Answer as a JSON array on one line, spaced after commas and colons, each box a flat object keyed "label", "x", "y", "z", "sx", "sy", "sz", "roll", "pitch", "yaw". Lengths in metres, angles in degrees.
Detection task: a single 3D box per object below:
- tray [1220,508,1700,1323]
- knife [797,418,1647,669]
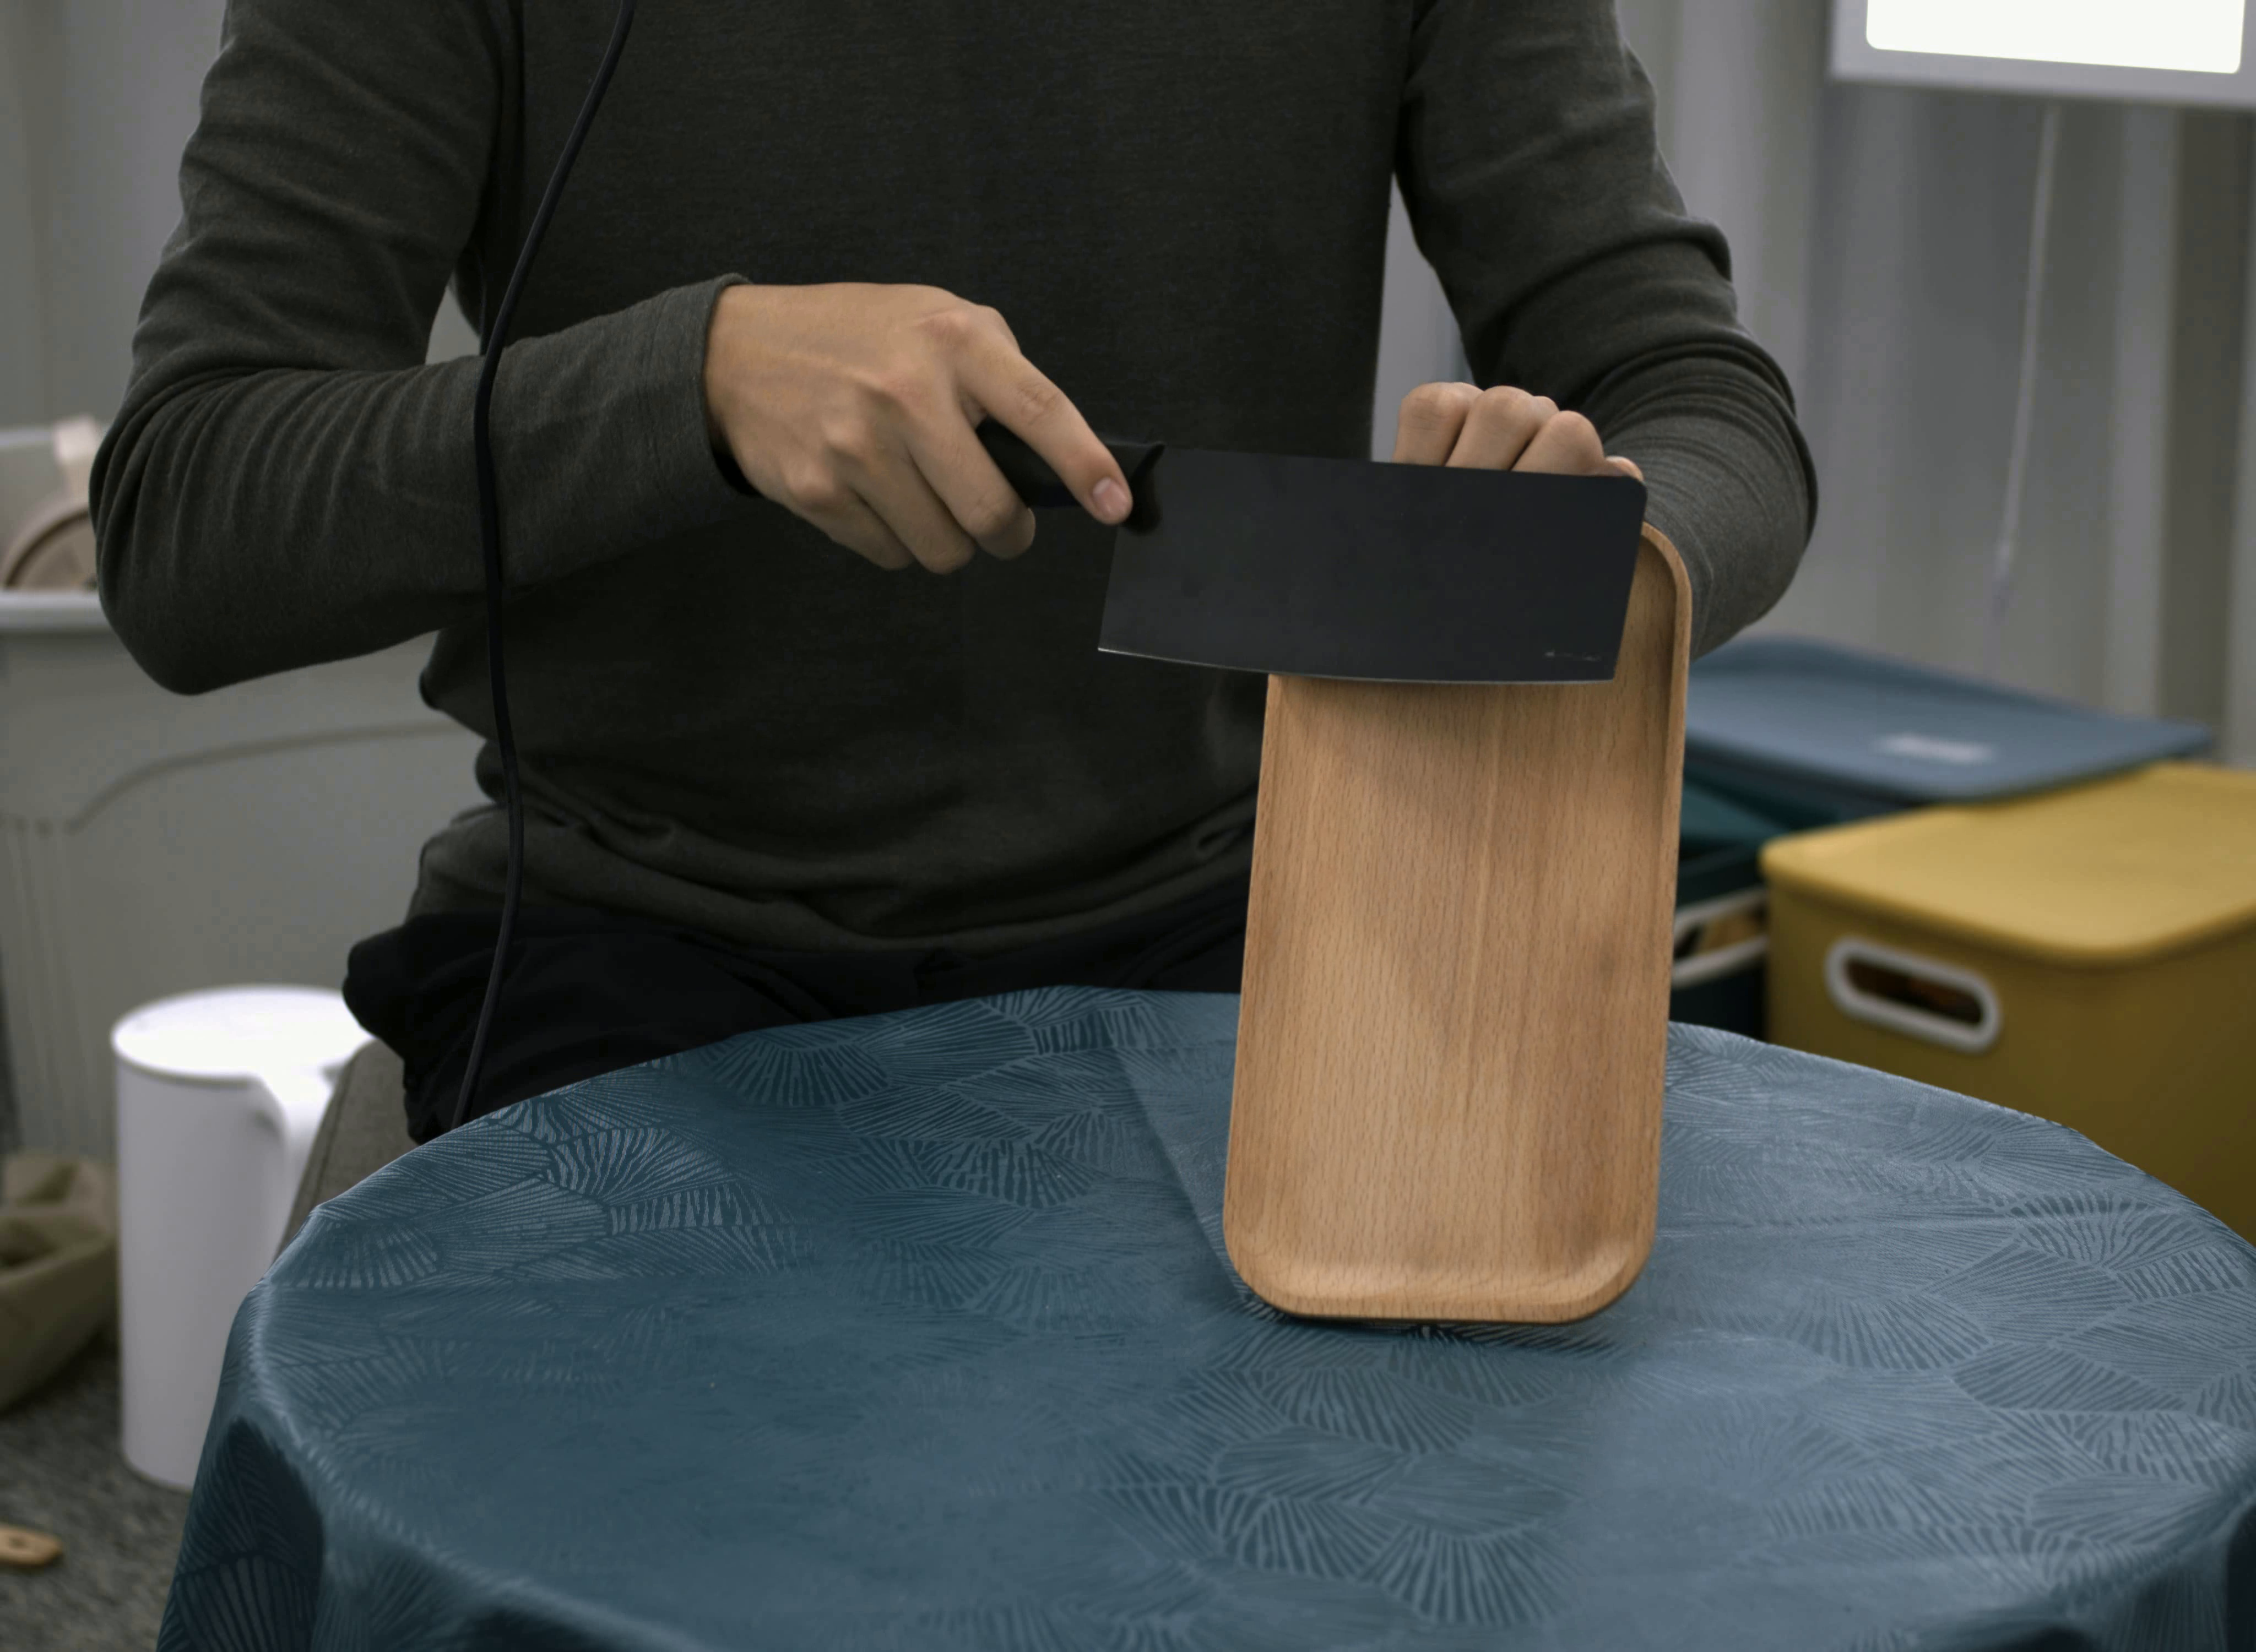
[{"label": "tray", "x": 0.099, "y": 0.024, "z": 1.547, "sx": 0.129, "sy": 0.250, "sz": 0.023, "roll": 2, "pitch": -19, "yaw": 12}, {"label": "knife", "x": 0.022, "y": -0.088, "z": 1.598, "sx": 0.298, "sy": 0.081, "sz": 0.021, "roll": 11, "pitch": -5, "yaw": 33}]
